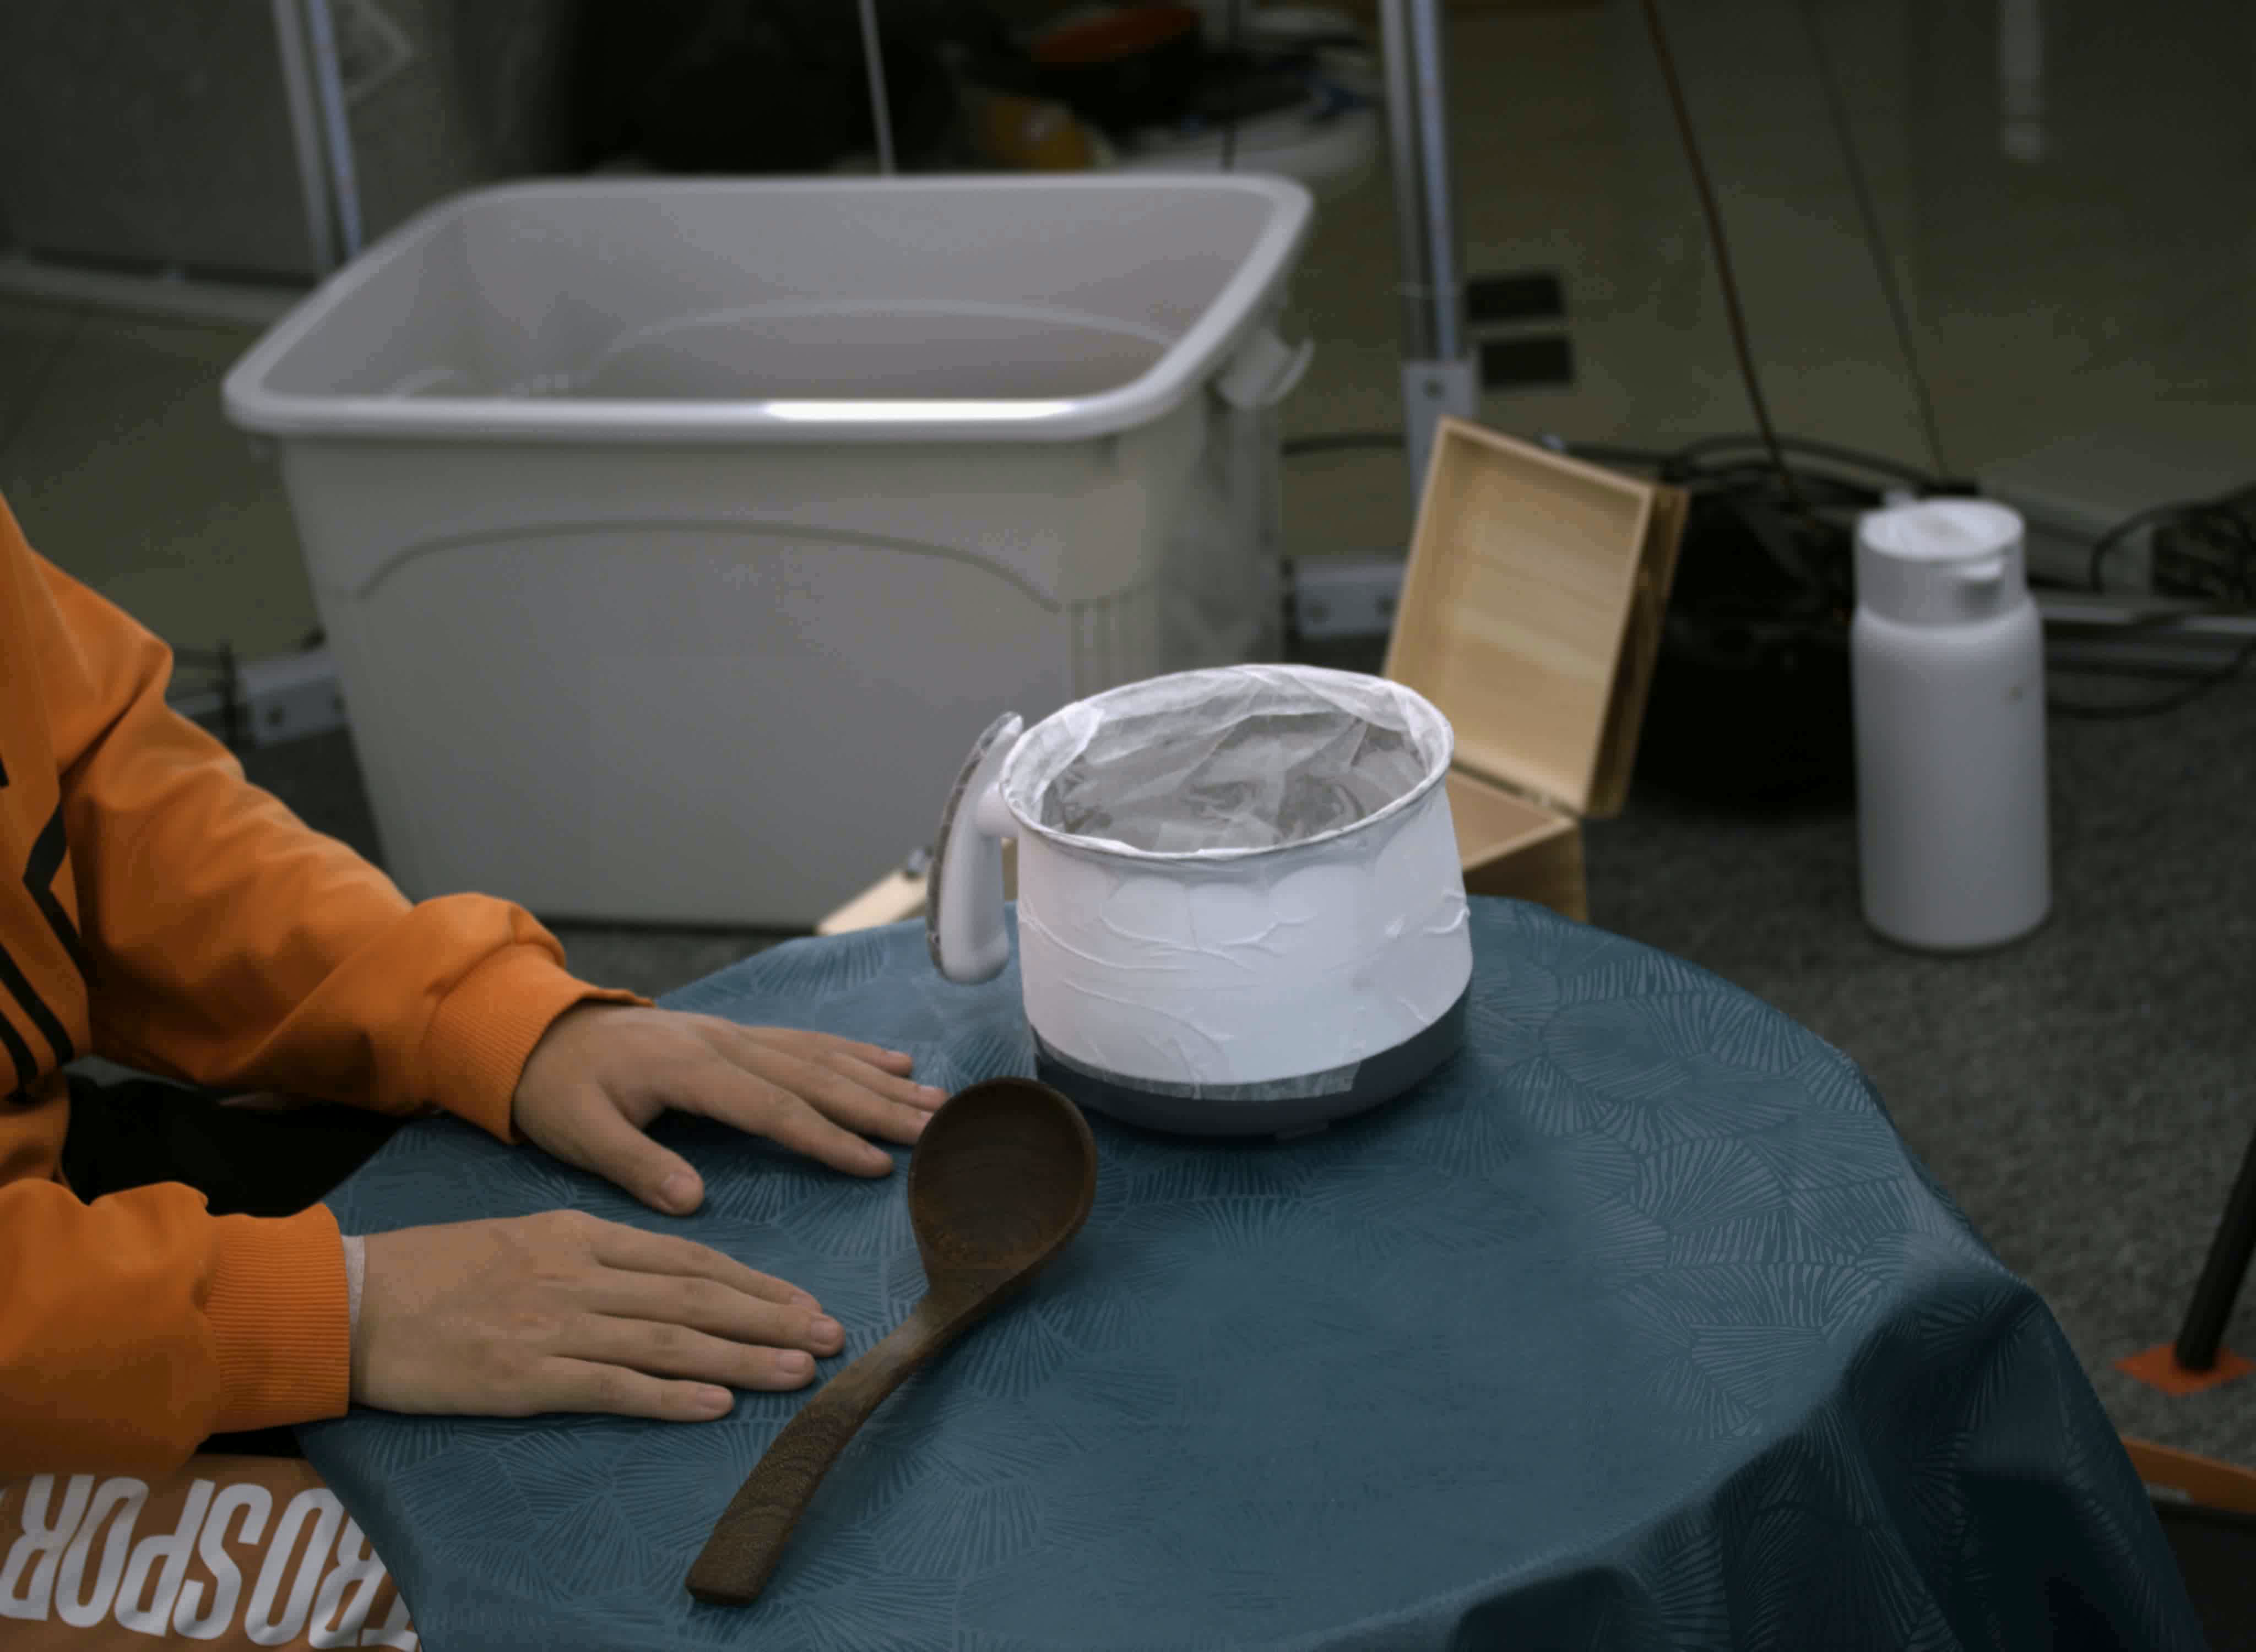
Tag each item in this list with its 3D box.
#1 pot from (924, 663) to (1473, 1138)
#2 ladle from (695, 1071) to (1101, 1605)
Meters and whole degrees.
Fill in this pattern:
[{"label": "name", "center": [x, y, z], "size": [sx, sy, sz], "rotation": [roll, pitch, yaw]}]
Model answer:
[{"label": "pot", "center": [0.020, 0.027, 2.216], "size": [0.232, 0.139, 0.176], "rotation": [9, 29, 28]}, {"label": "ladle", "center": [-0.087, 0.175, 2.008], "size": [0.076, 0.072, 0.270], "rotation": [3, 26, 25]}]
